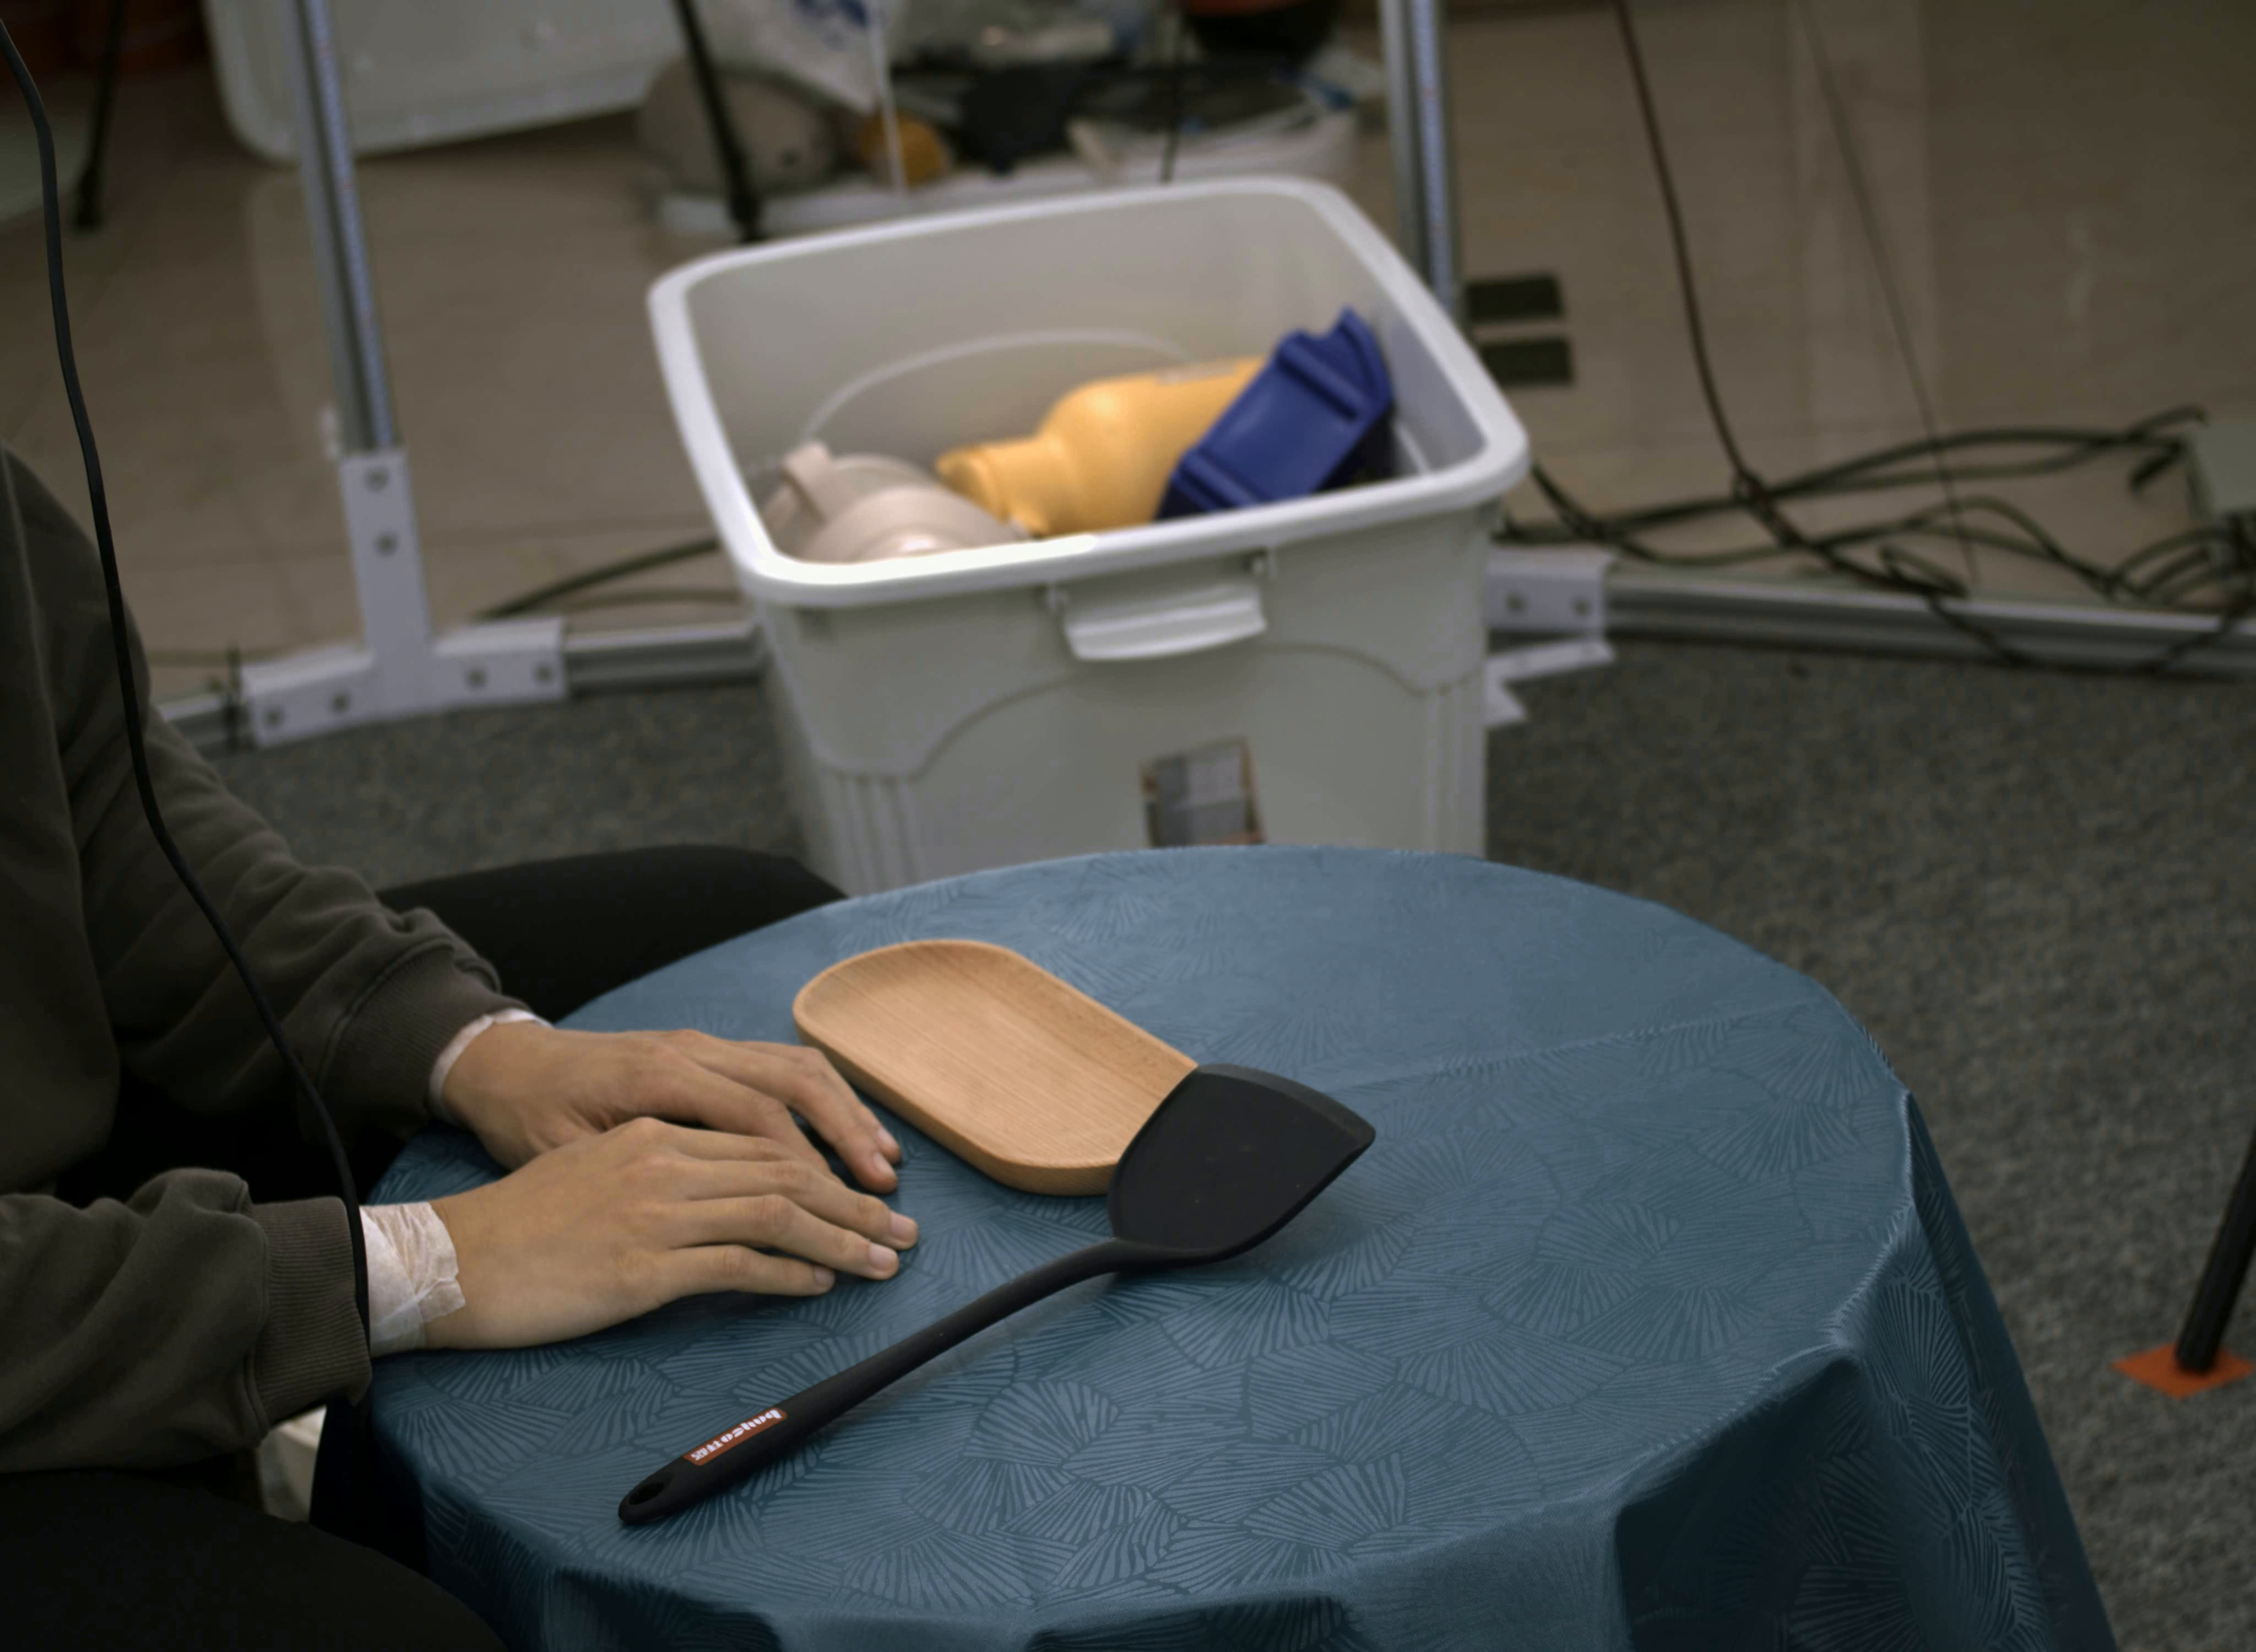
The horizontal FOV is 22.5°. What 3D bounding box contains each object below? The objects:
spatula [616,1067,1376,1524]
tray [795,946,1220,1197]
[{"bbox_3d":[-0.054,0.171,2.047,0.324,0.041,0.099,-24,29,-33],"label":"spatula"},{"bbox_3d":[-0.048,0.095,2.234,0.101,0.020,0.228,-21,30,-27],"label":"tray"}]
